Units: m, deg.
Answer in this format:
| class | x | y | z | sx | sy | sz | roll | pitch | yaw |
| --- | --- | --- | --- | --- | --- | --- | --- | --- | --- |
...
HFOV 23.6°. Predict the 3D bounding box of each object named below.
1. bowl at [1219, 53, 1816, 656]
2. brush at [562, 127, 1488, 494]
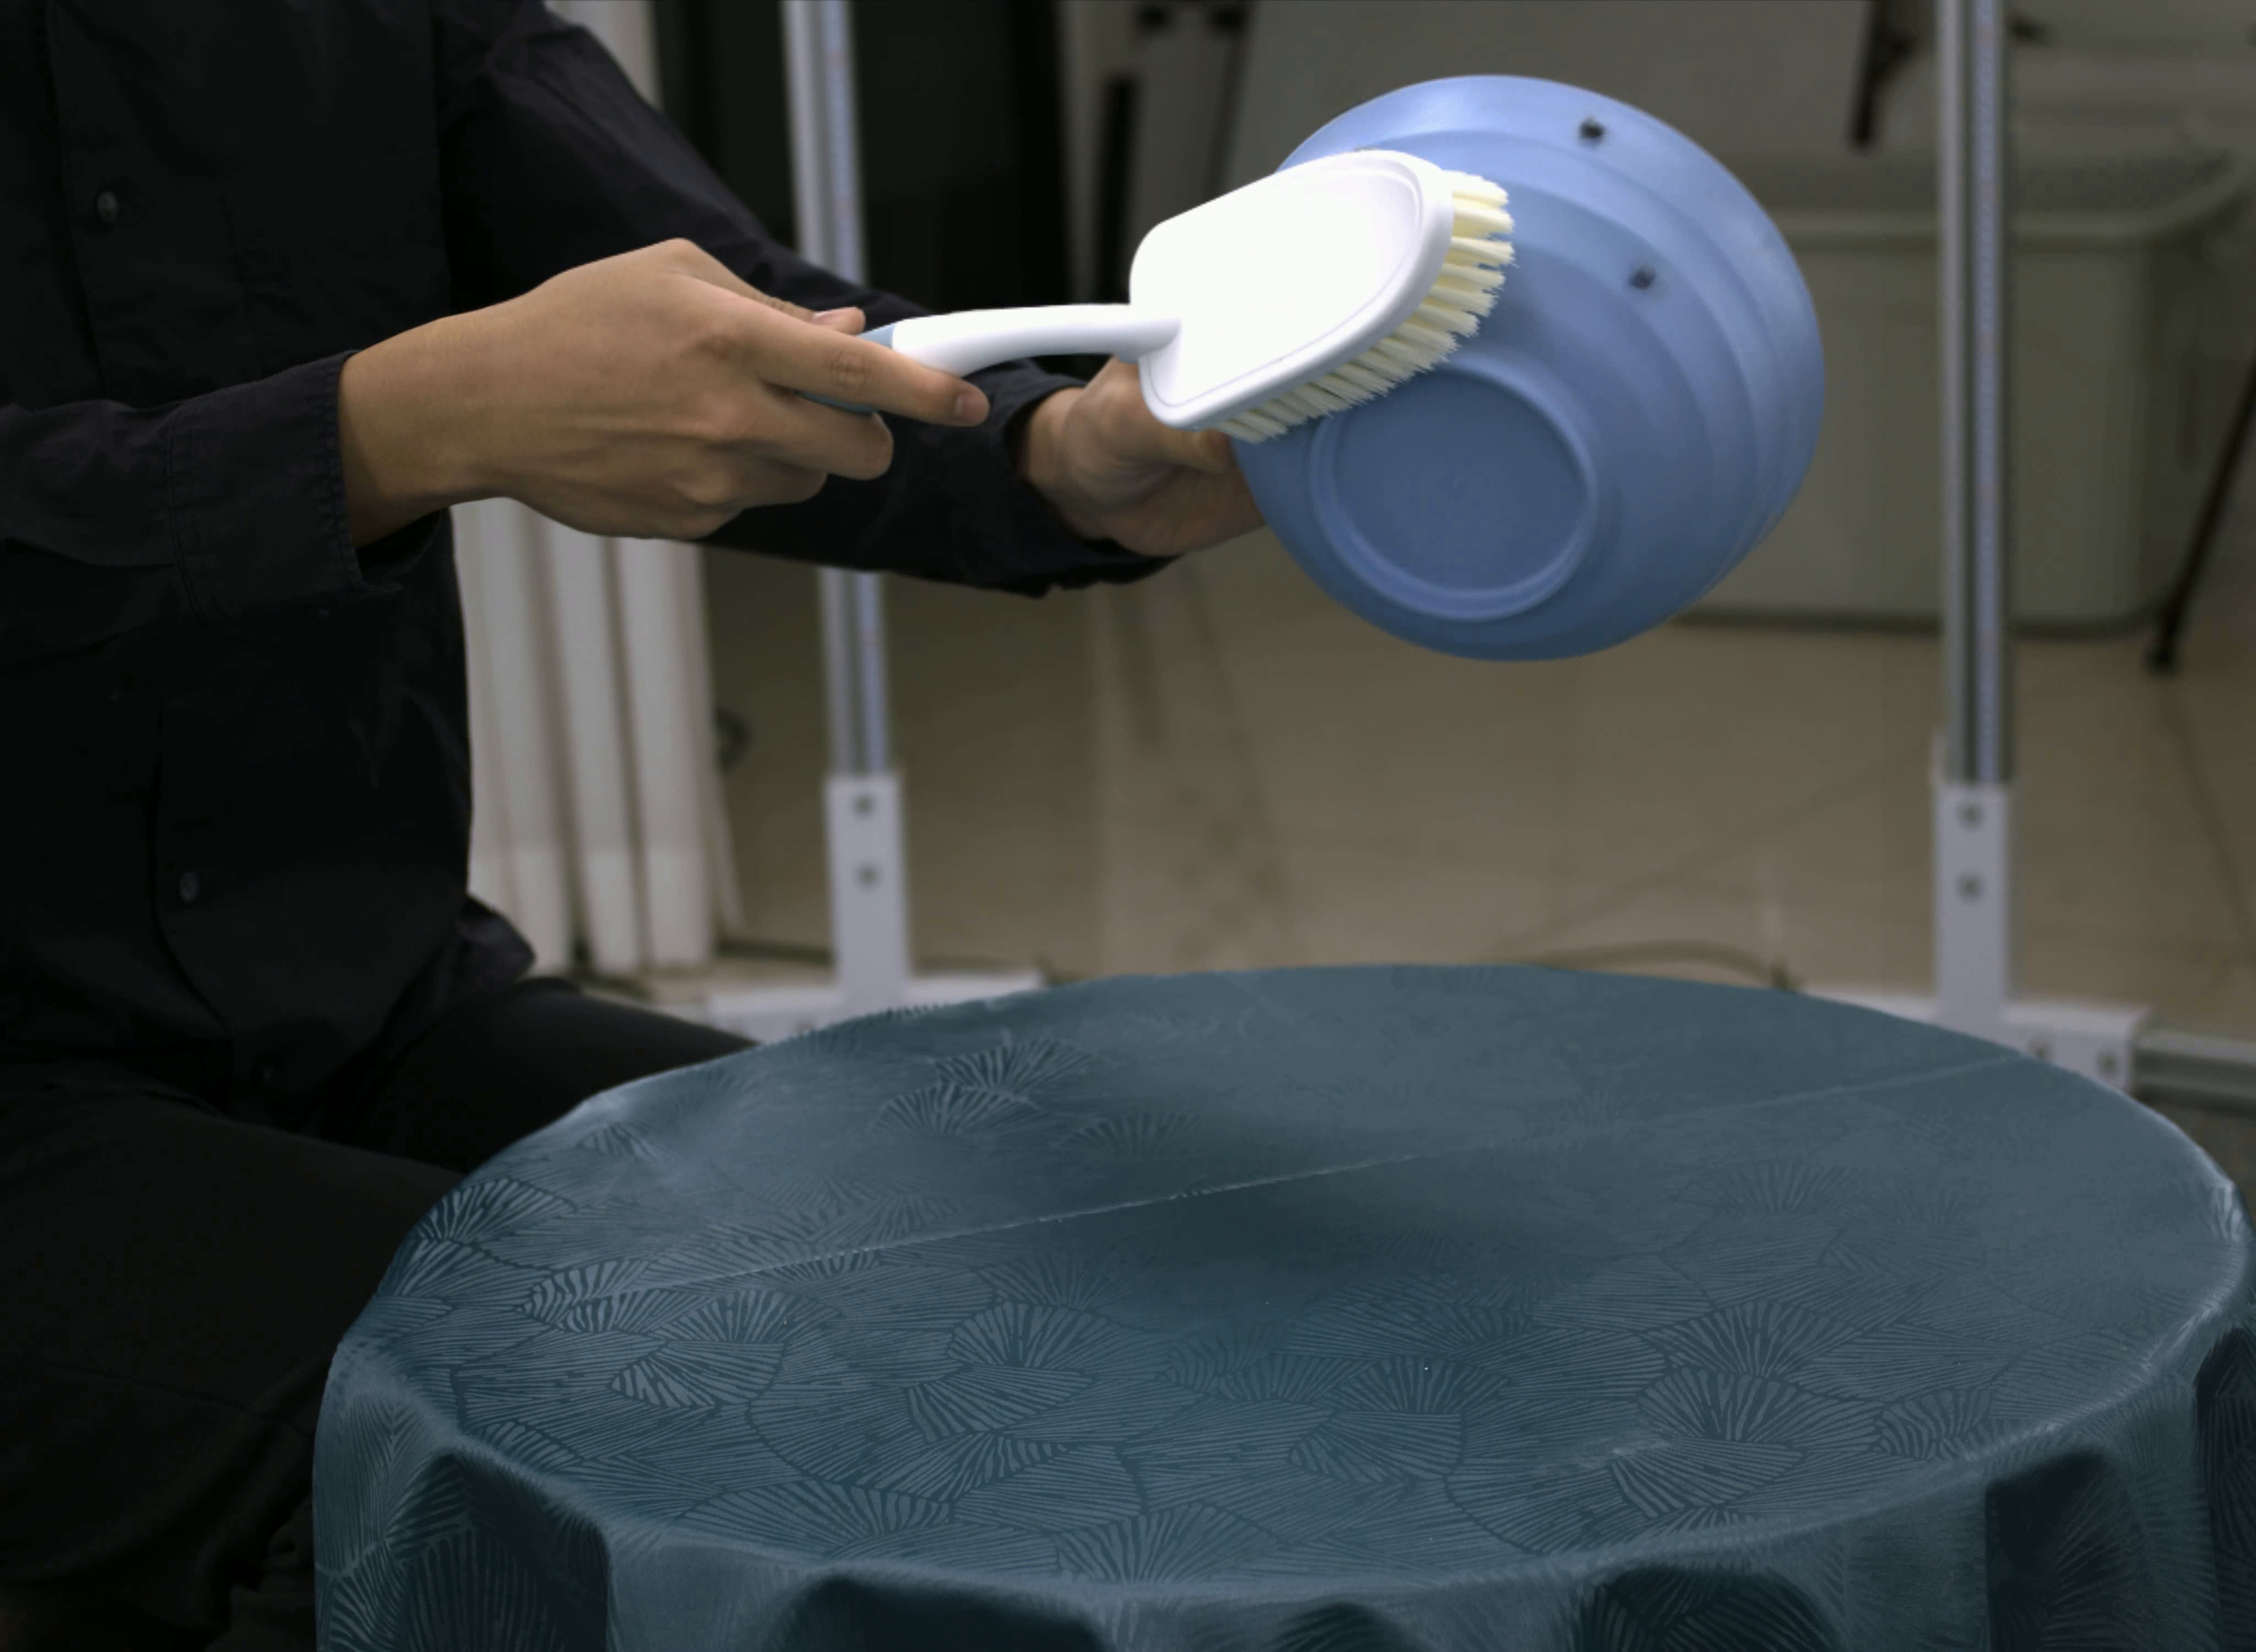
| class | x | y | z | sx | sy | sz | roll | pitch | yaw |
| --- | --- | --- | --- | --- | --- | --- | --- | --- | --- |
| bowl | 0.109 | -0.129 | 1.677 | 0.196 | 0.197 | 0.095 | 2 | 32 | 21 |
| brush | -0.030 | -0.150 | 1.670 | 0.326 | 0.084 | 0.083 | -15 | 35 | 29 |
